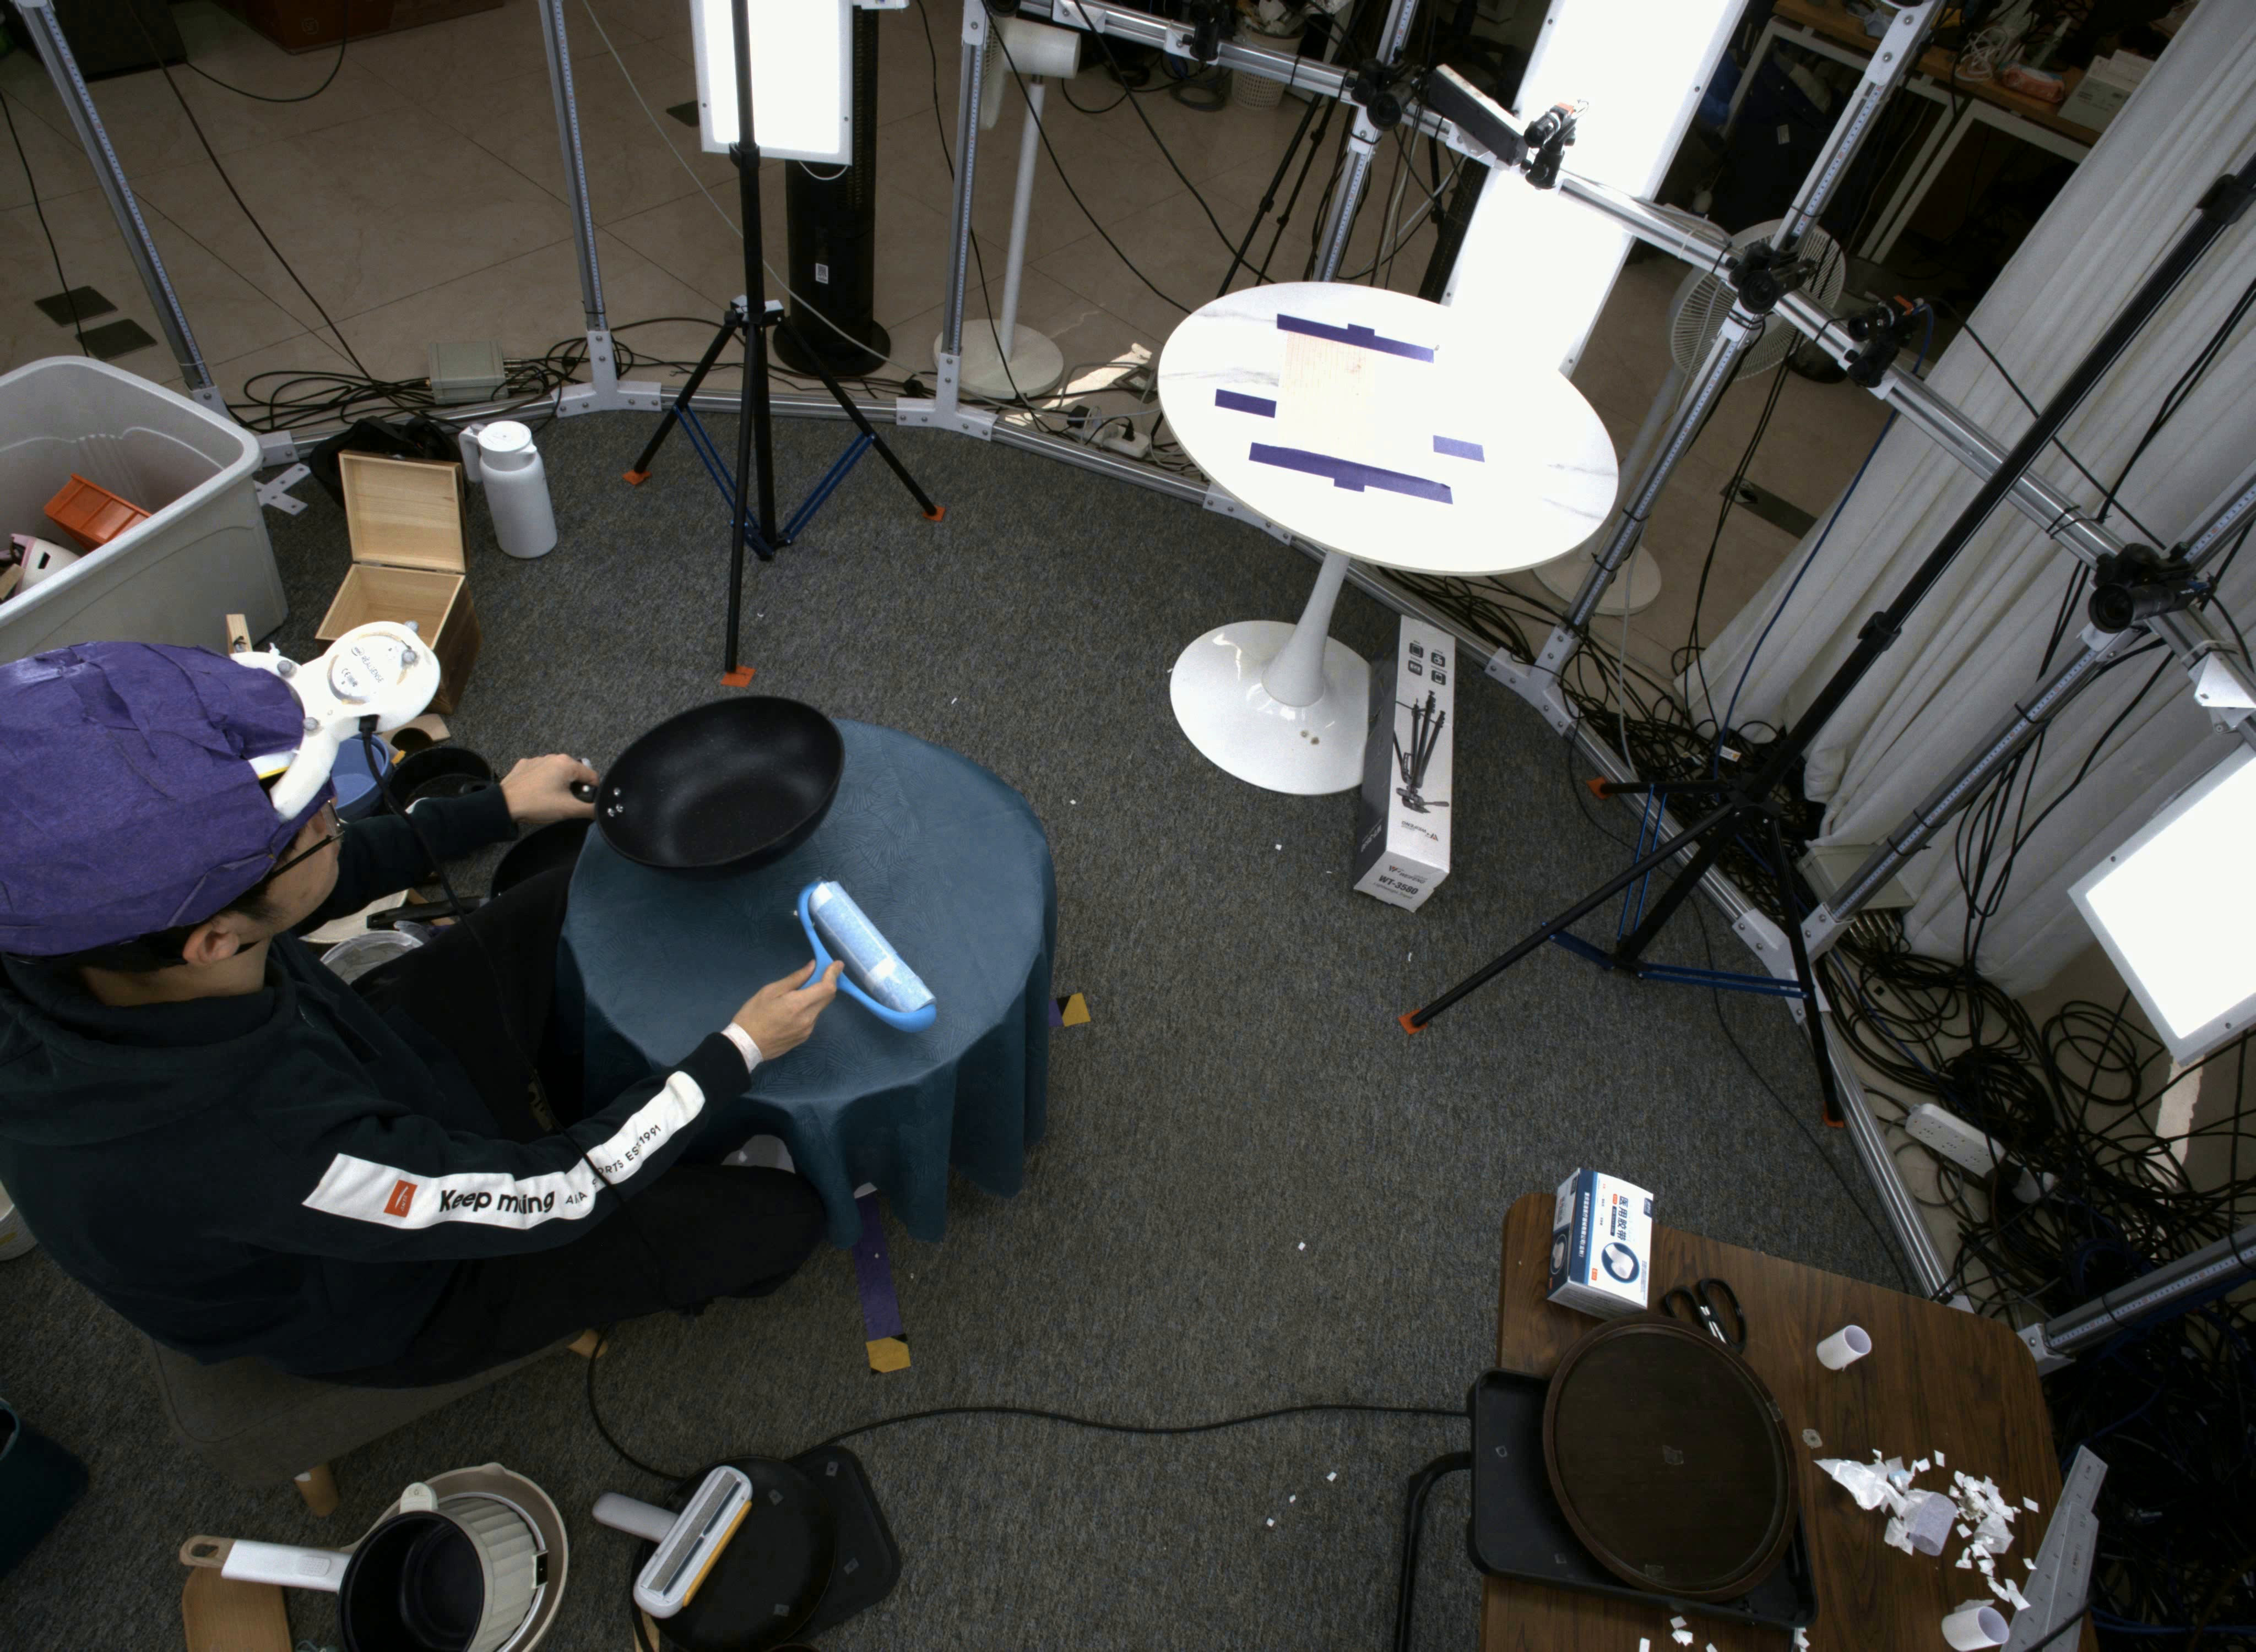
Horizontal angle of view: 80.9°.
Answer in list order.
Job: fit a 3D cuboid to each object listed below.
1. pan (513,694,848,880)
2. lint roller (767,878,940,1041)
[{"bbox_3d":[-0.571,-0.034,1.589,0.471,0.115,0.303,-7,43,0],"label":"pan"},{"bbox_3d":[-0.347,0.181,1.523,0.226,0.068,0.180,44,62,8],"label":"lint roller"}]
